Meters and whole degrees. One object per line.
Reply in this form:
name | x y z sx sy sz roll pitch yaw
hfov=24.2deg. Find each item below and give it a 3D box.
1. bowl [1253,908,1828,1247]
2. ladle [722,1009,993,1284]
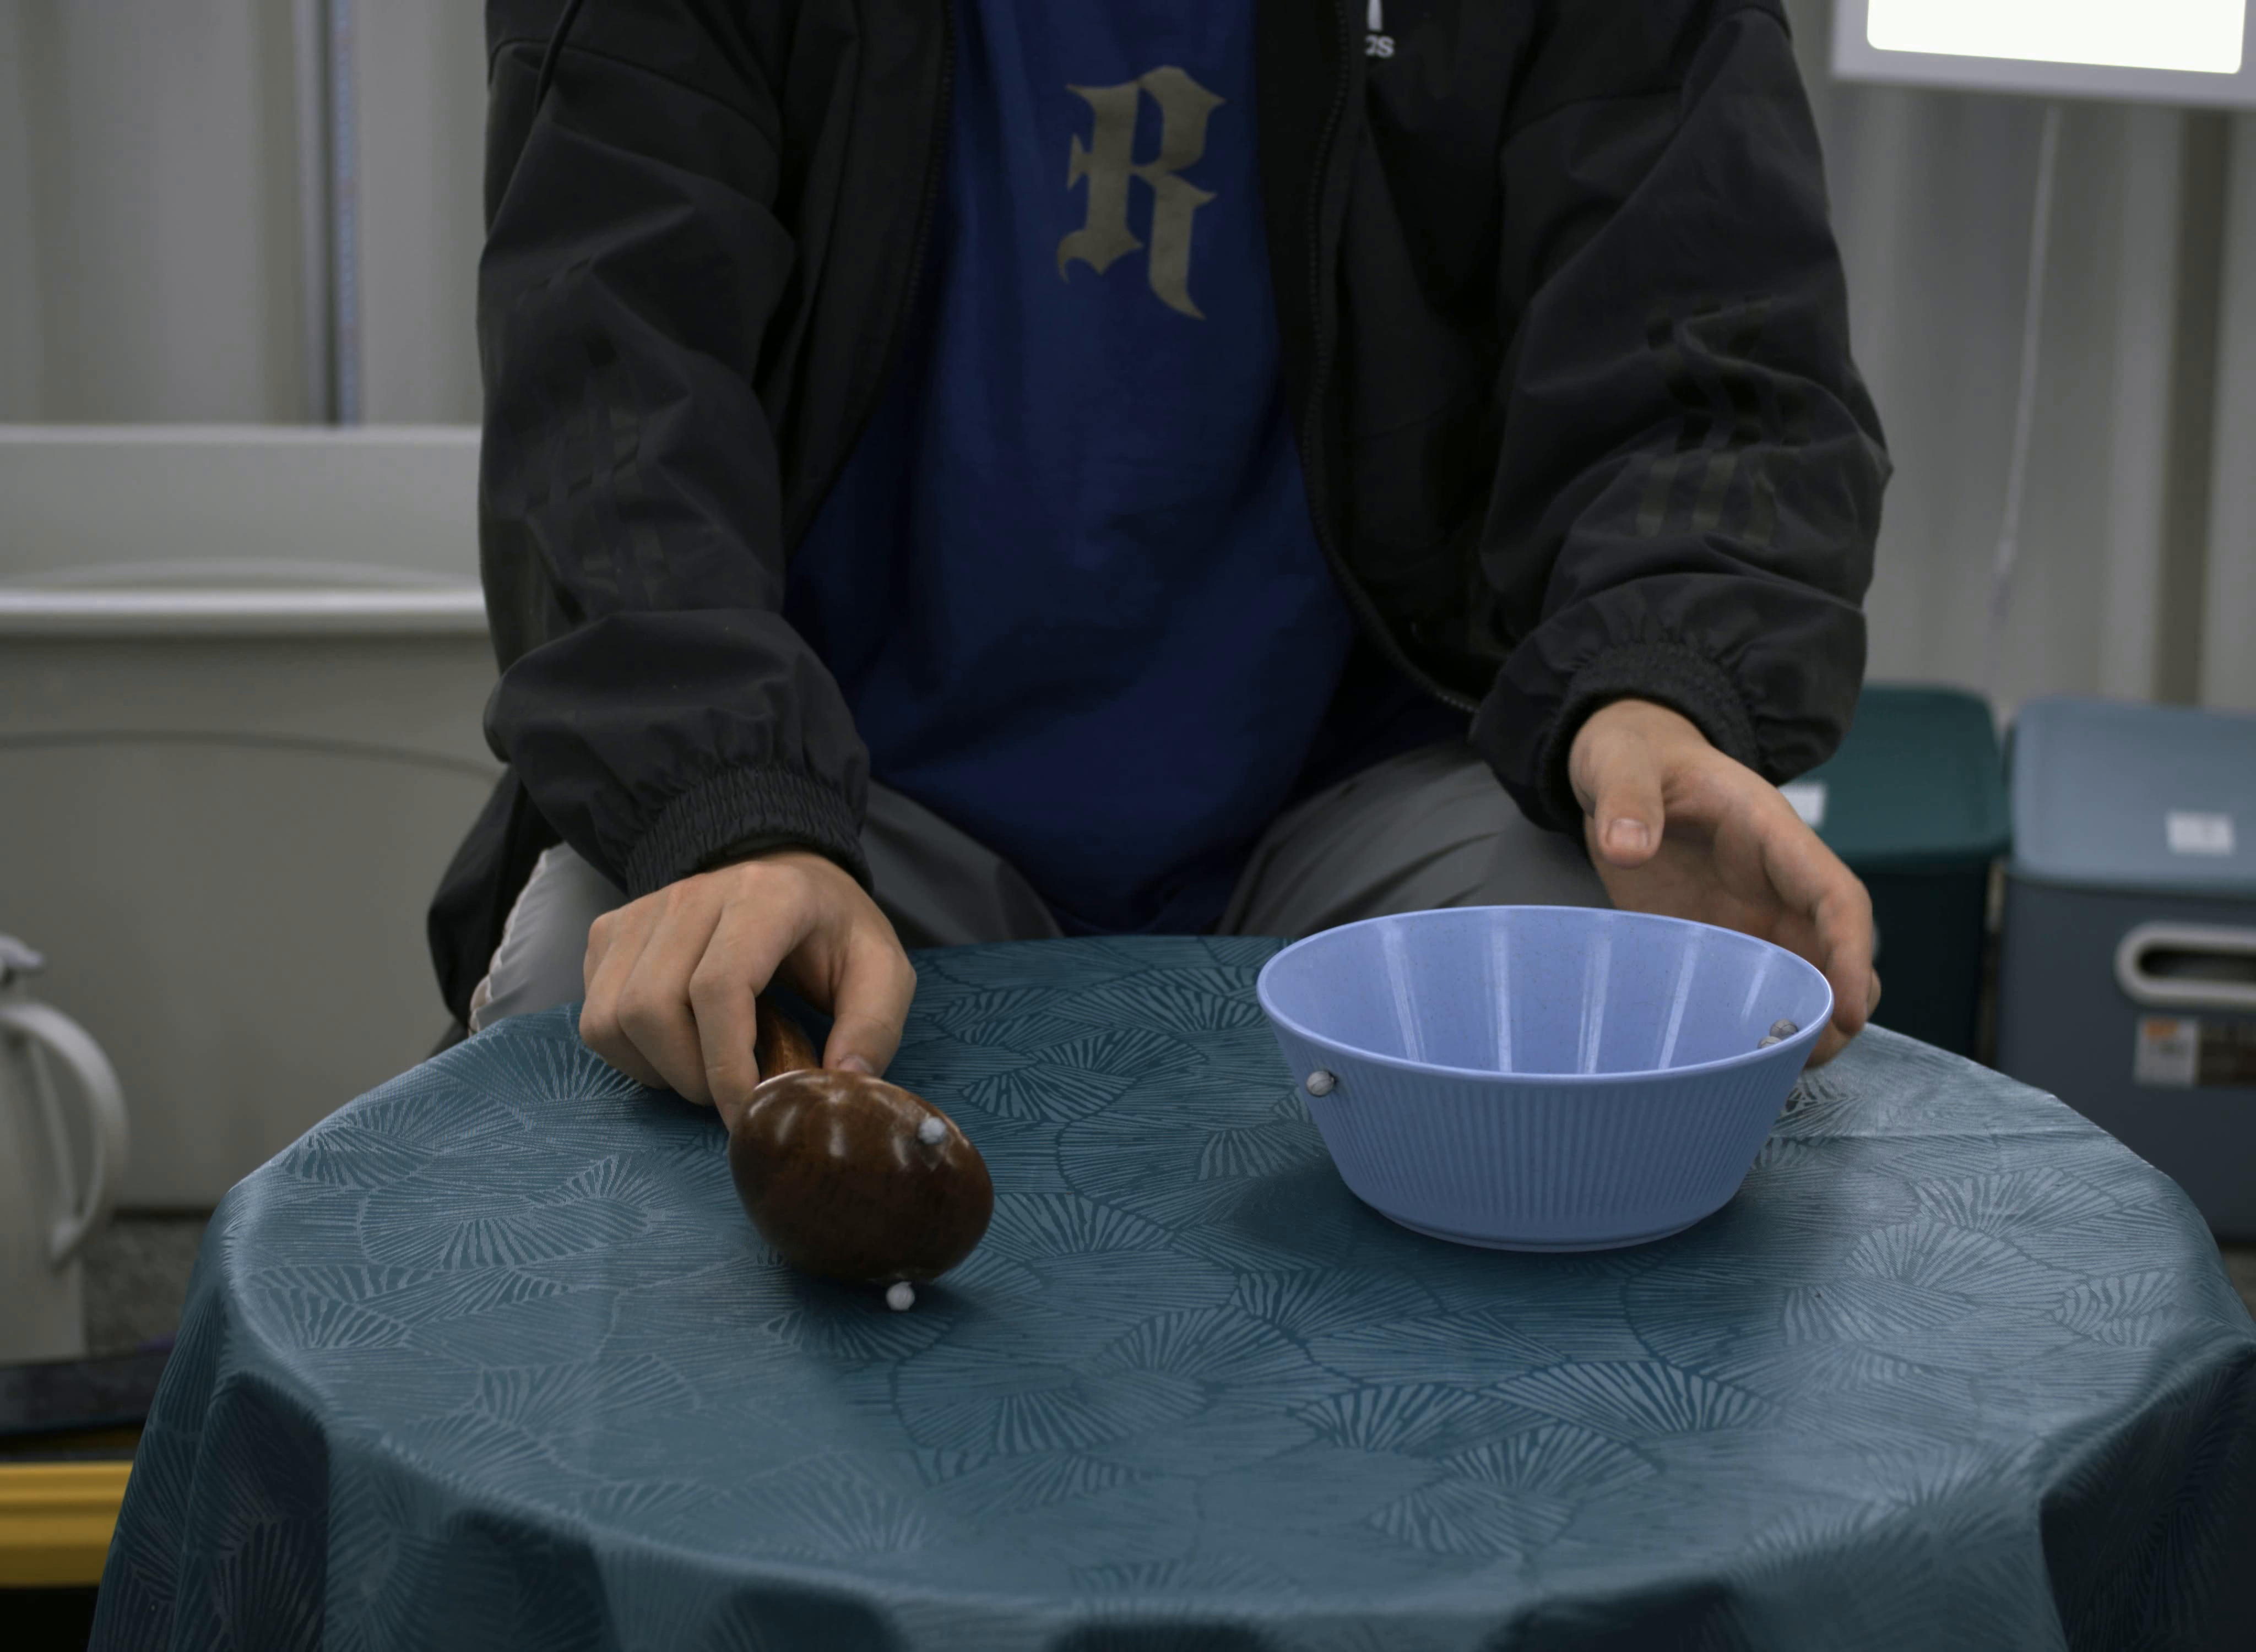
bowl | 0.125 0.079 1.615 0.175 0.071 0.175 1 15 0
ladle | -0.086 0.076 1.622 0.082 0.076 0.272 45 8 -12
